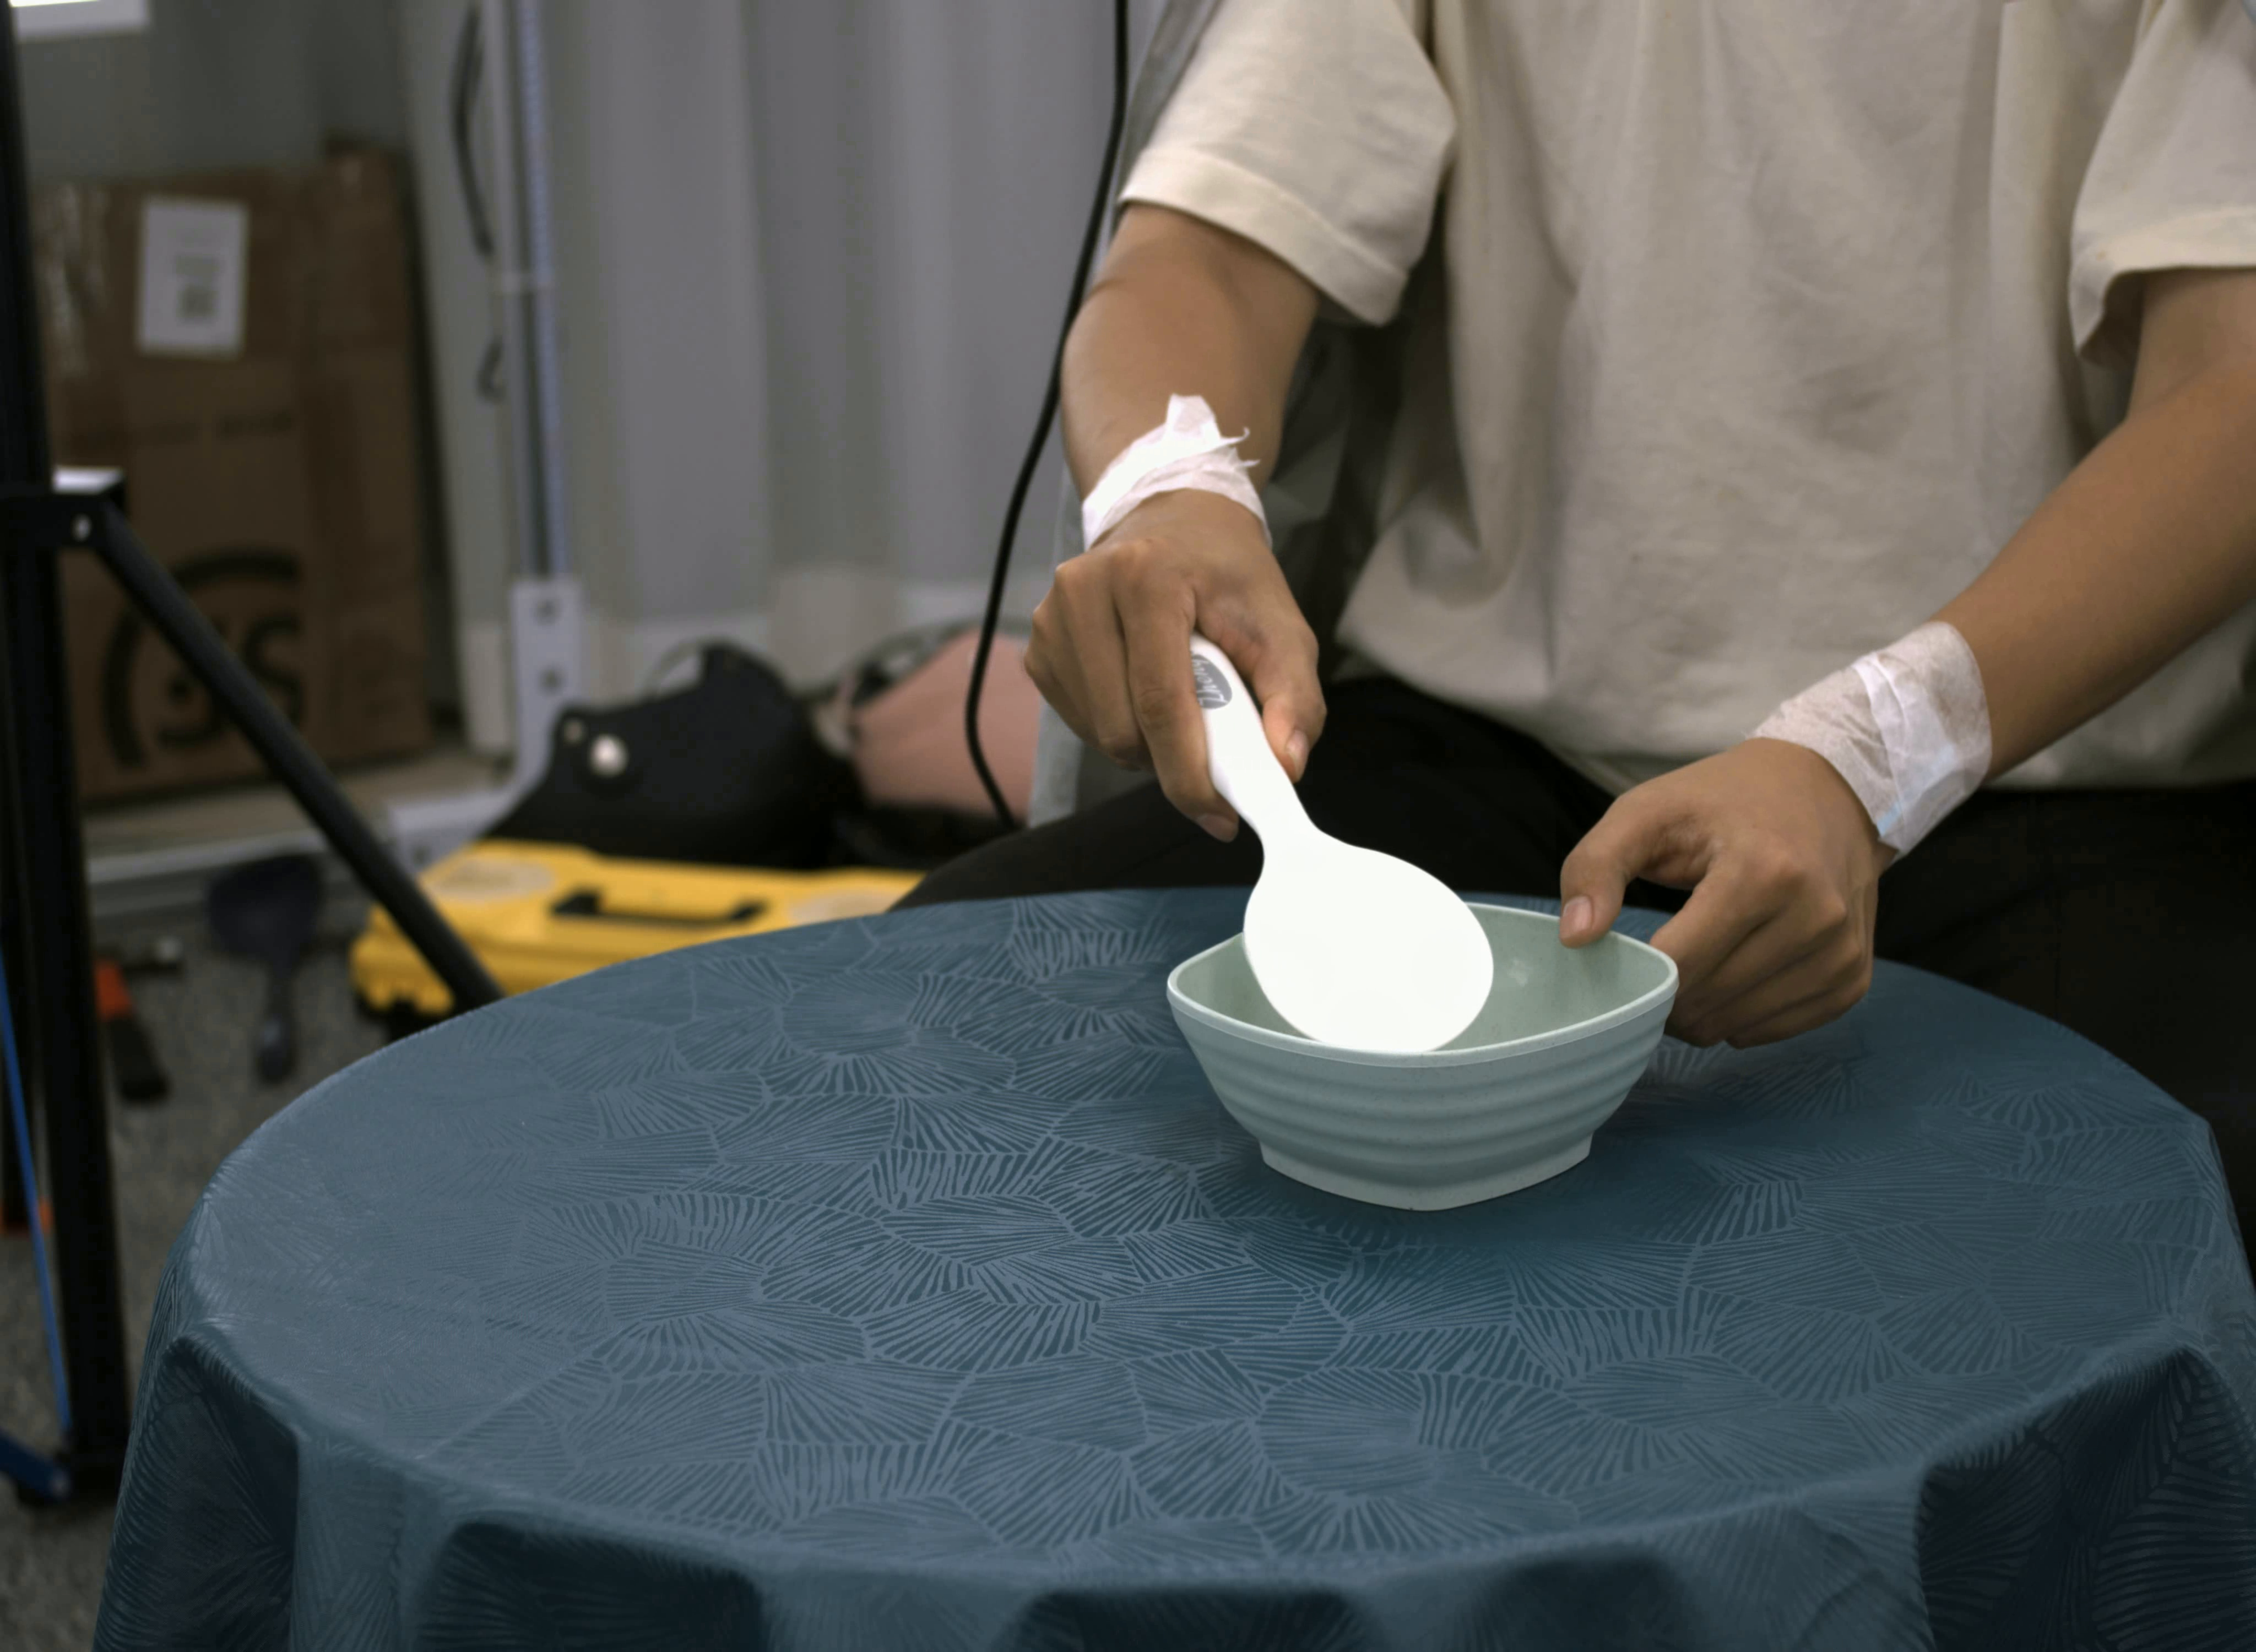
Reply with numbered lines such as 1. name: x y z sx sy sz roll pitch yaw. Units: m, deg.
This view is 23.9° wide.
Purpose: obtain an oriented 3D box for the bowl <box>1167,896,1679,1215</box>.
1. bowl: 0.089 0.071 1.567 0.151 0.058 0.152 -5 17 0

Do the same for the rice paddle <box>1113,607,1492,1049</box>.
1. rice paddle: 0.049 0.002 1.609 0.068 0.029 0.209 -21 42 -11
